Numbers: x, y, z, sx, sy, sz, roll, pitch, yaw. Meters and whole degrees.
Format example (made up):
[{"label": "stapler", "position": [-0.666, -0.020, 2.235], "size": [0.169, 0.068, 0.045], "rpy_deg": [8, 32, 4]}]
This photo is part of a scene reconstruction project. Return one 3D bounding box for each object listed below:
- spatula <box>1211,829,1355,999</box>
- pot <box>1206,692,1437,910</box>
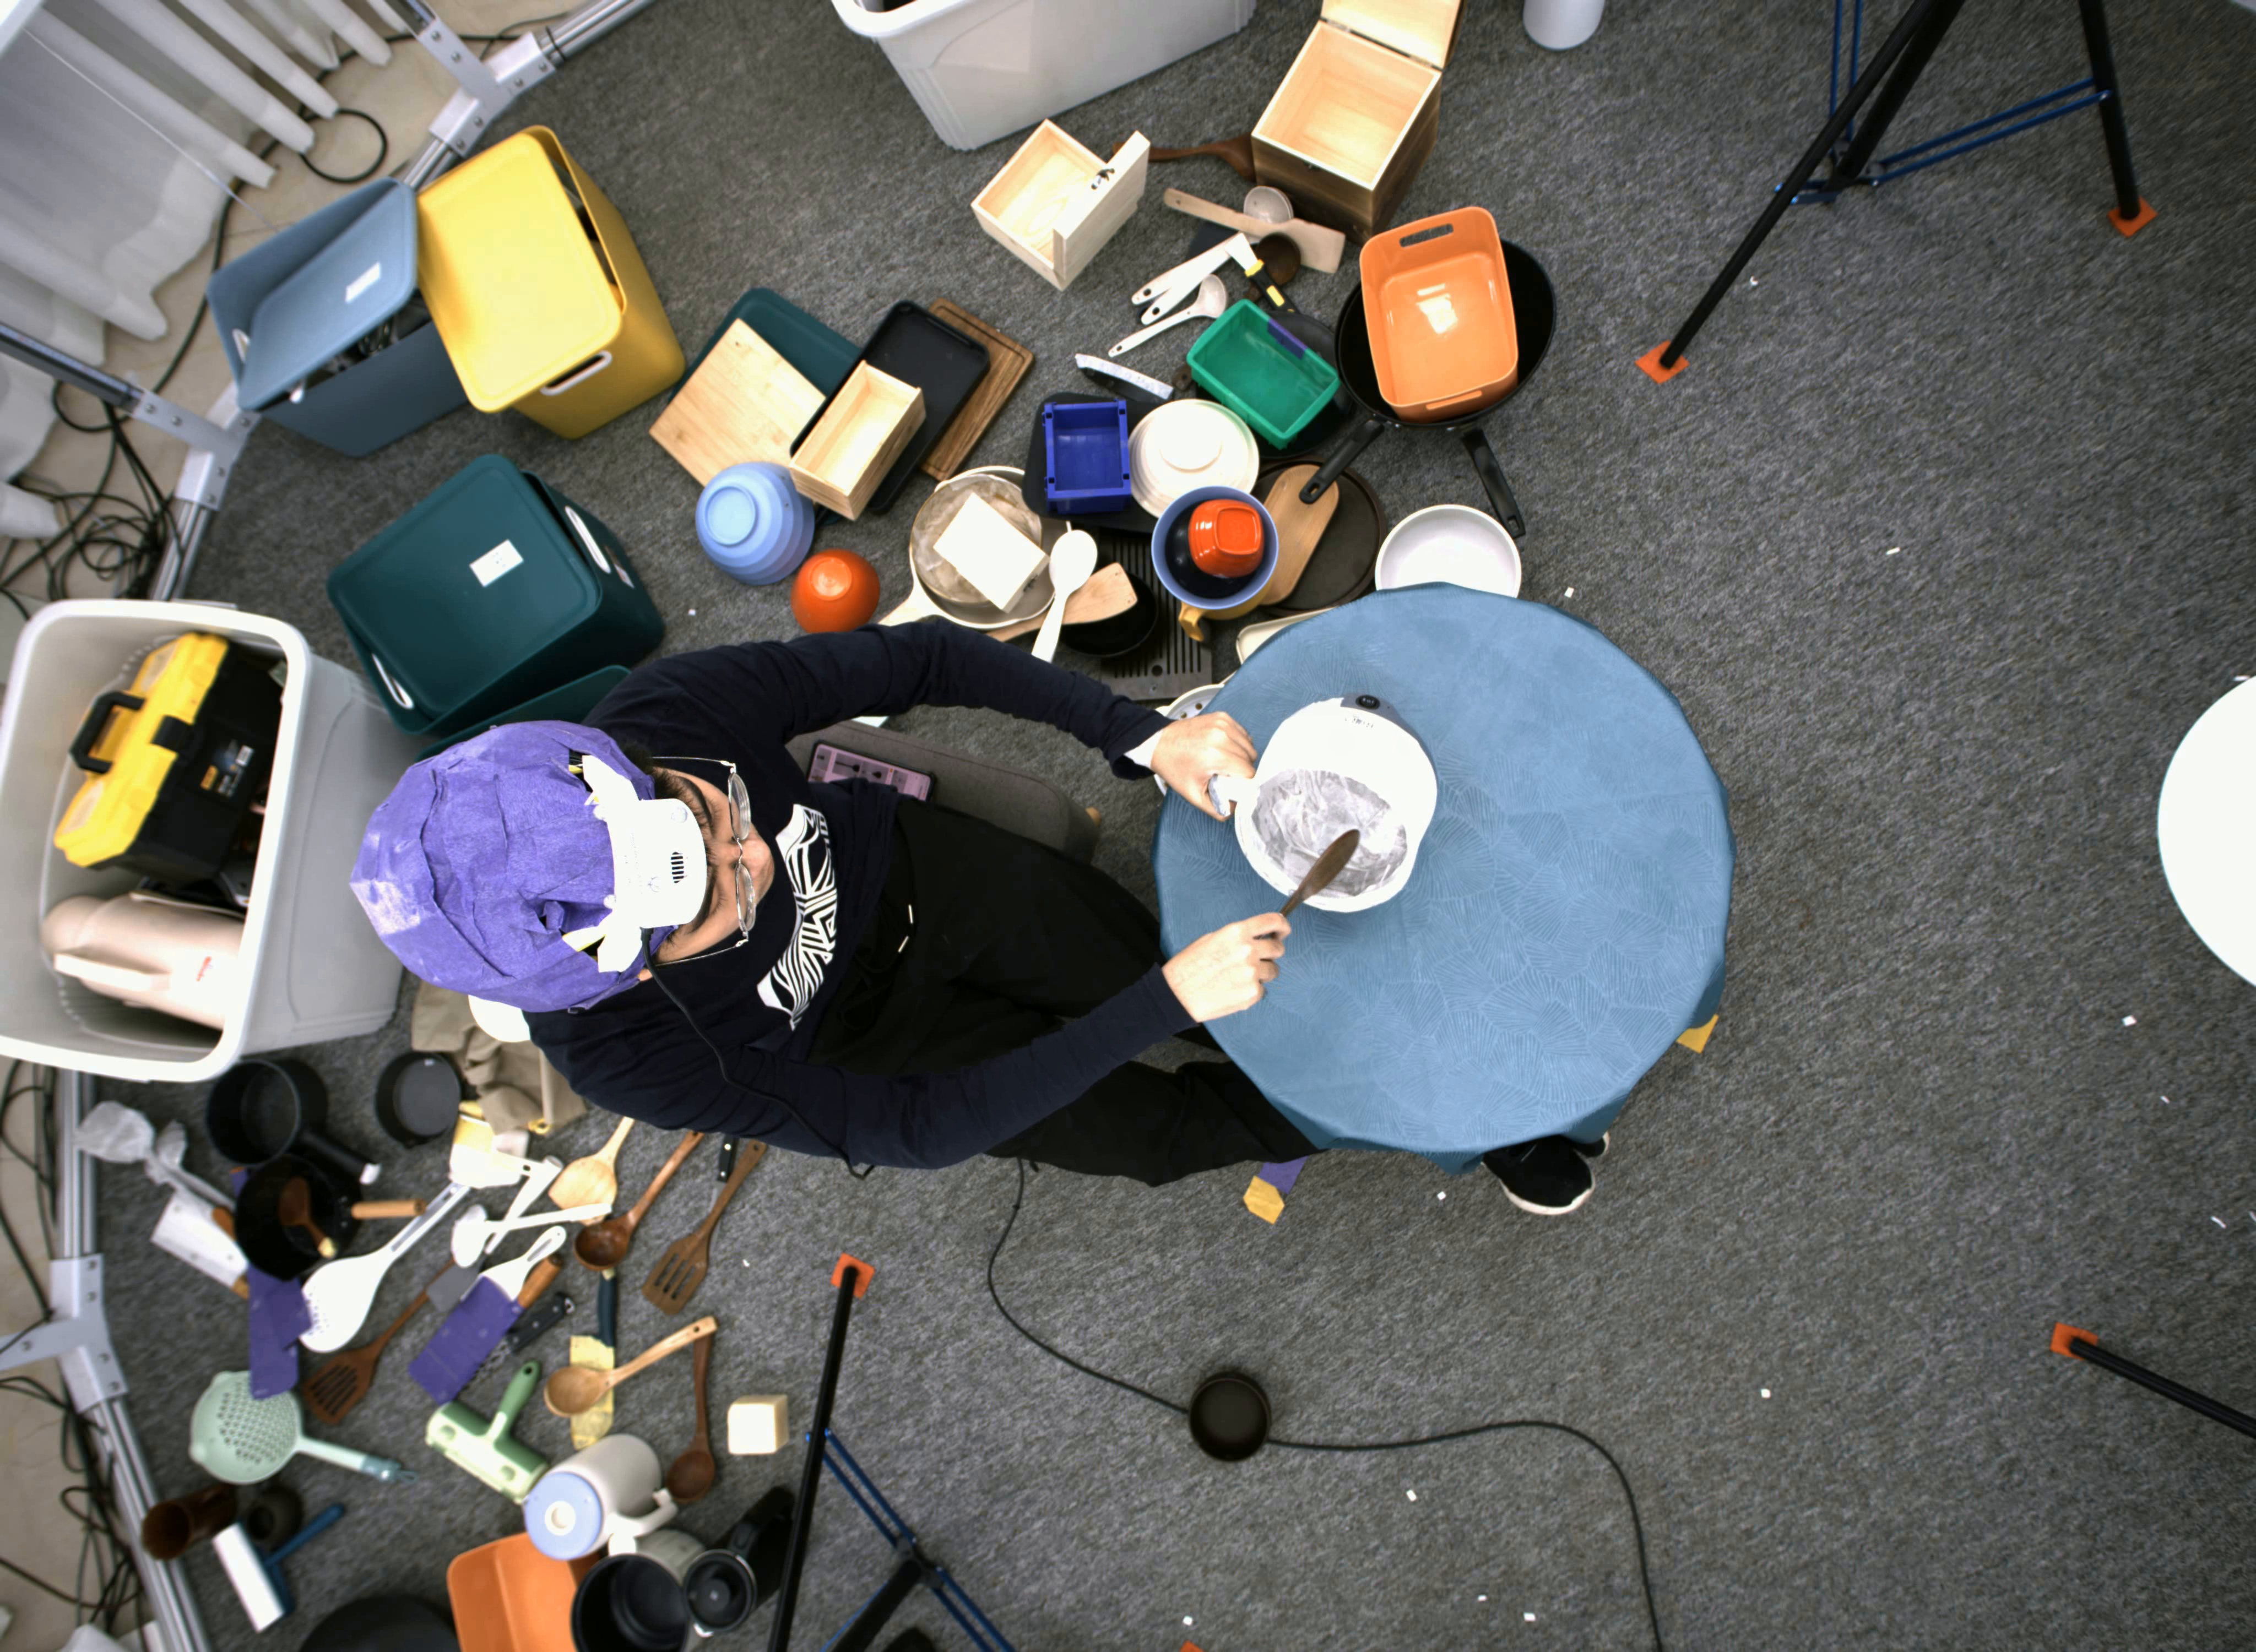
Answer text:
[{"label": "spatula", "position": [0.142, 0.080, 1.316], "size": [0.009, 0.072, 0.213], "rpy_deg": [44, 75, -20]}, {"label": "pot", "position": [0.183, -0.033, 1.361], "size": [0.234, 0.133, 0.183], "rpy_deg": [15, 132, 15]}]
